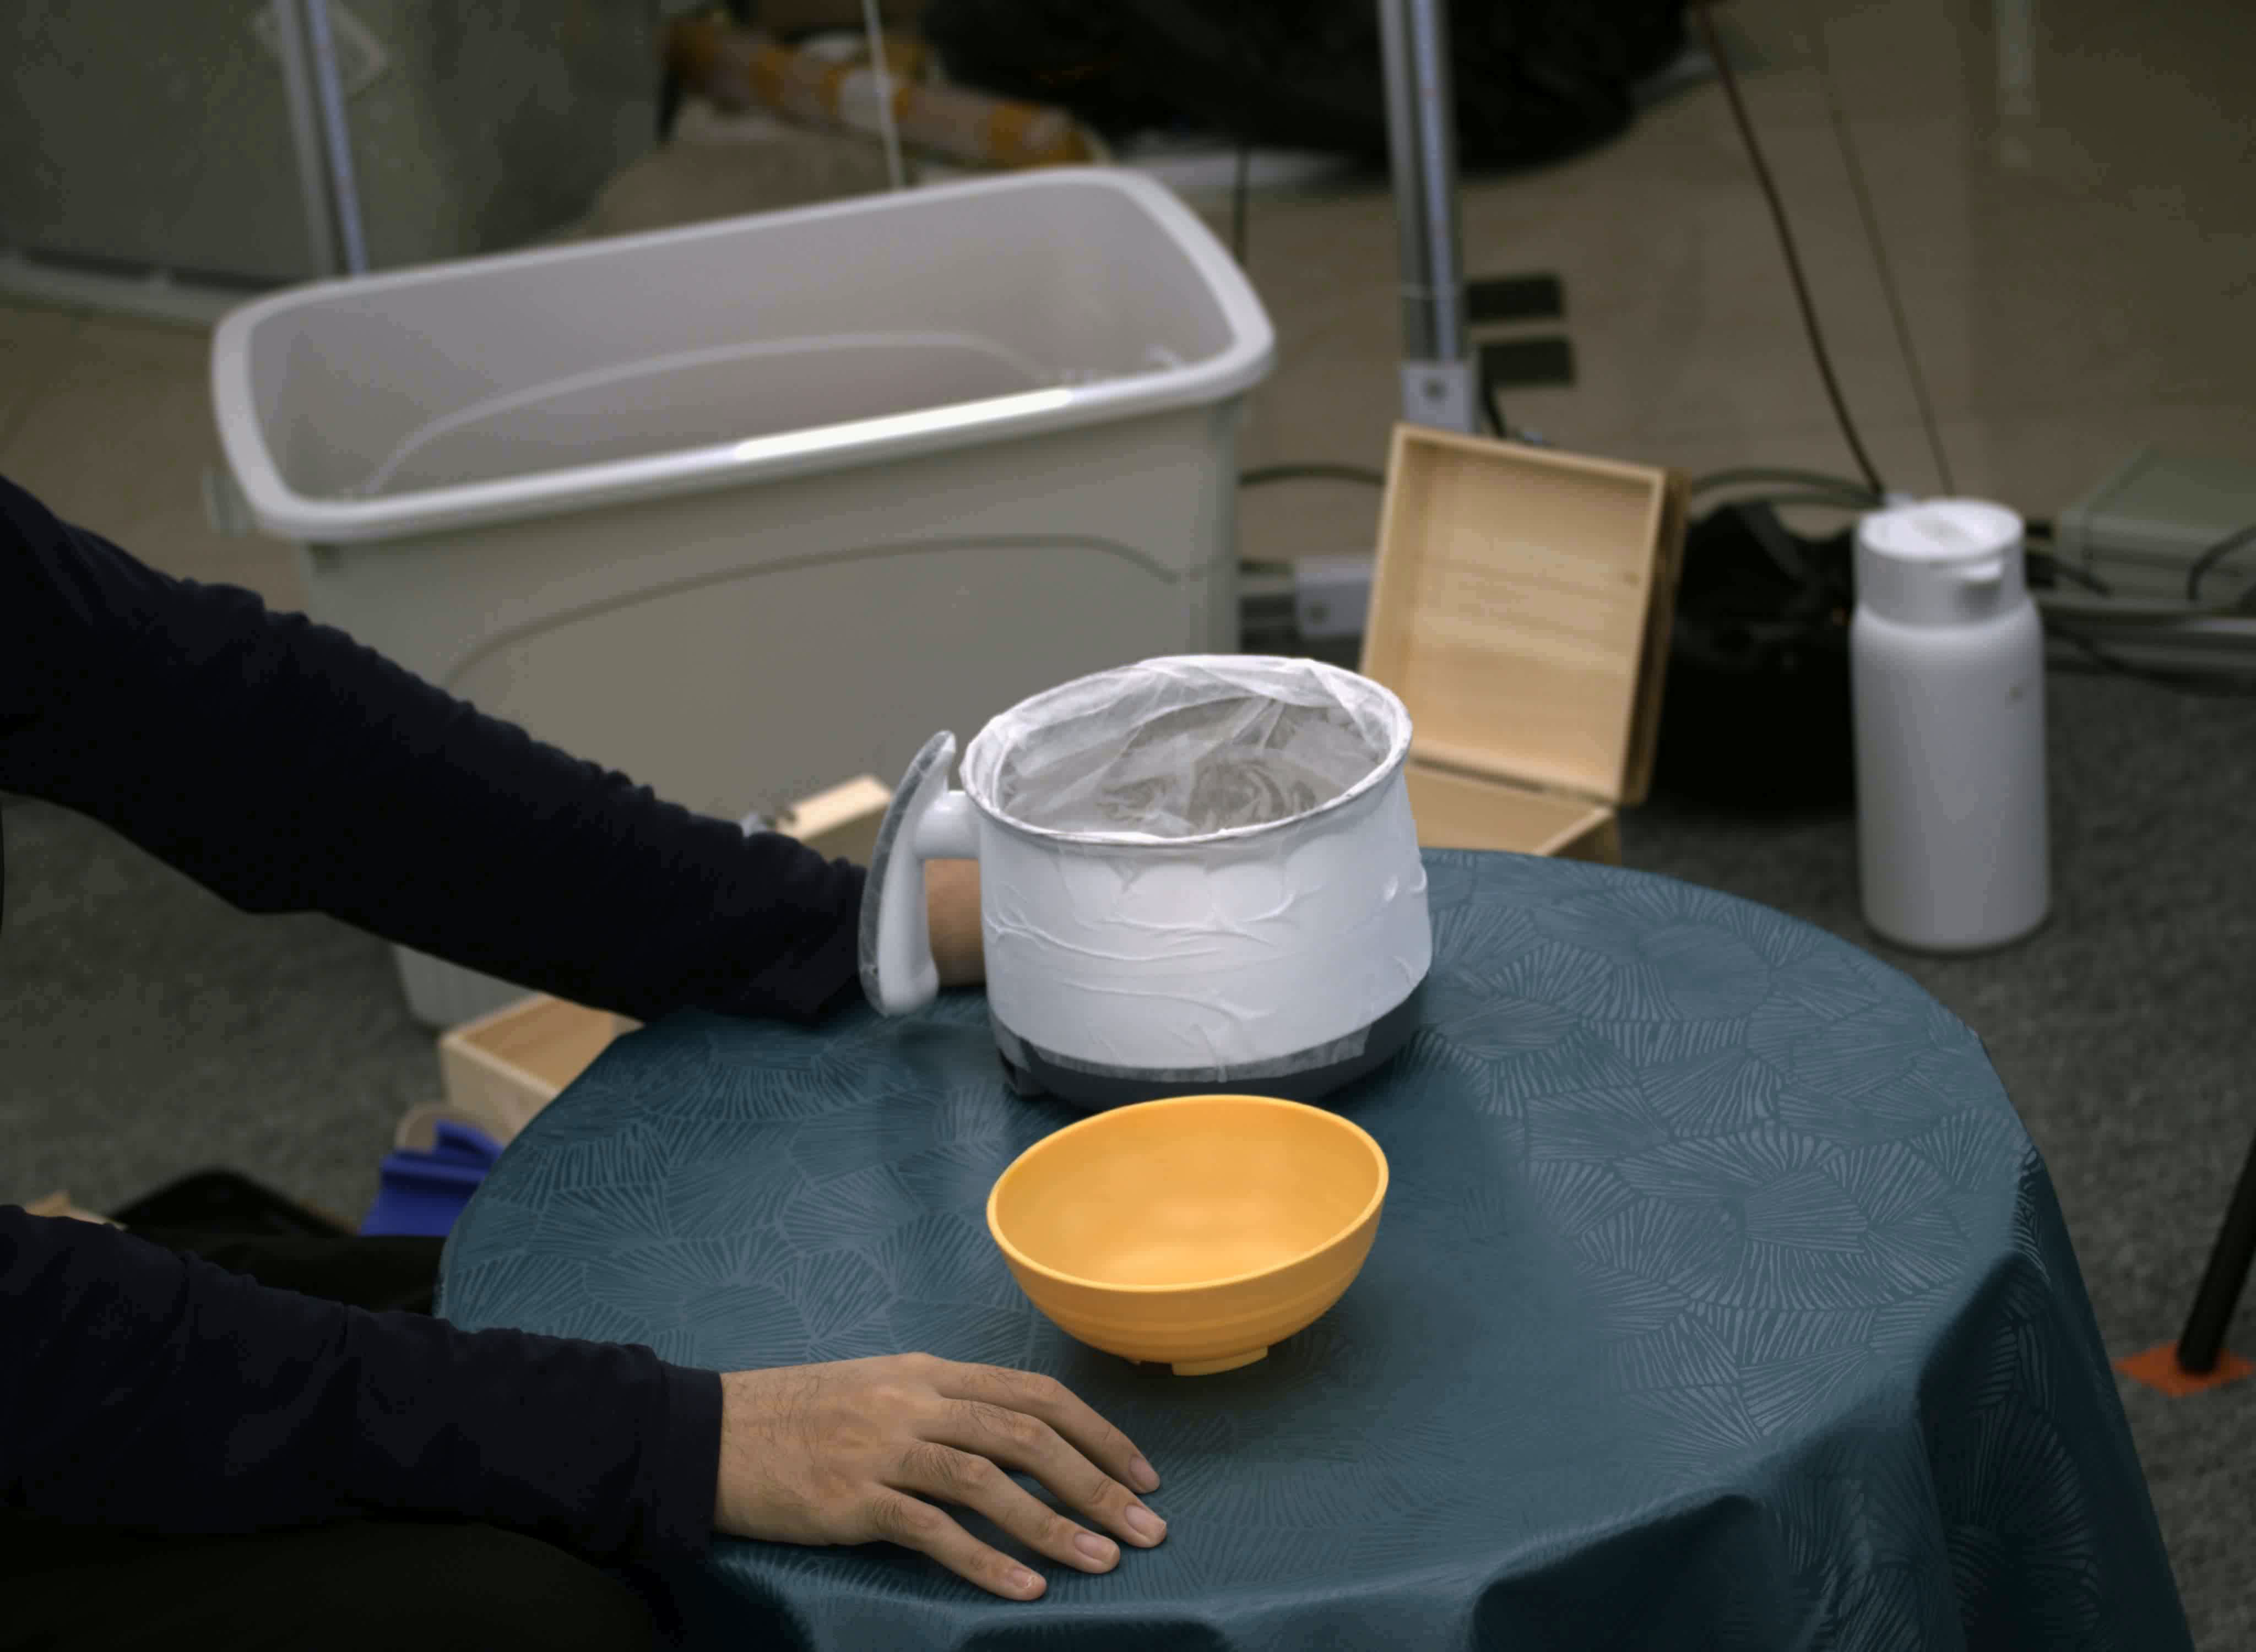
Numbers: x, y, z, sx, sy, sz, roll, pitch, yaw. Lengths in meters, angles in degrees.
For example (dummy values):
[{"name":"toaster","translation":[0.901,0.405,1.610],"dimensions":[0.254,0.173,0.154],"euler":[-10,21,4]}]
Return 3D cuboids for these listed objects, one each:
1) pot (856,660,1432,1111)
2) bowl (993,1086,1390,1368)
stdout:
[{"name":"pot","translation":[0.003,0.025,2.229],"dimensions":[0.233,0.138,0.176],"euler":[1,23,14]},{"name":"bowl","translation":[0.027,0.154,2.038],"dimensions":[0.145,0.061,0.143],"euler":[-7,26,3]}]
